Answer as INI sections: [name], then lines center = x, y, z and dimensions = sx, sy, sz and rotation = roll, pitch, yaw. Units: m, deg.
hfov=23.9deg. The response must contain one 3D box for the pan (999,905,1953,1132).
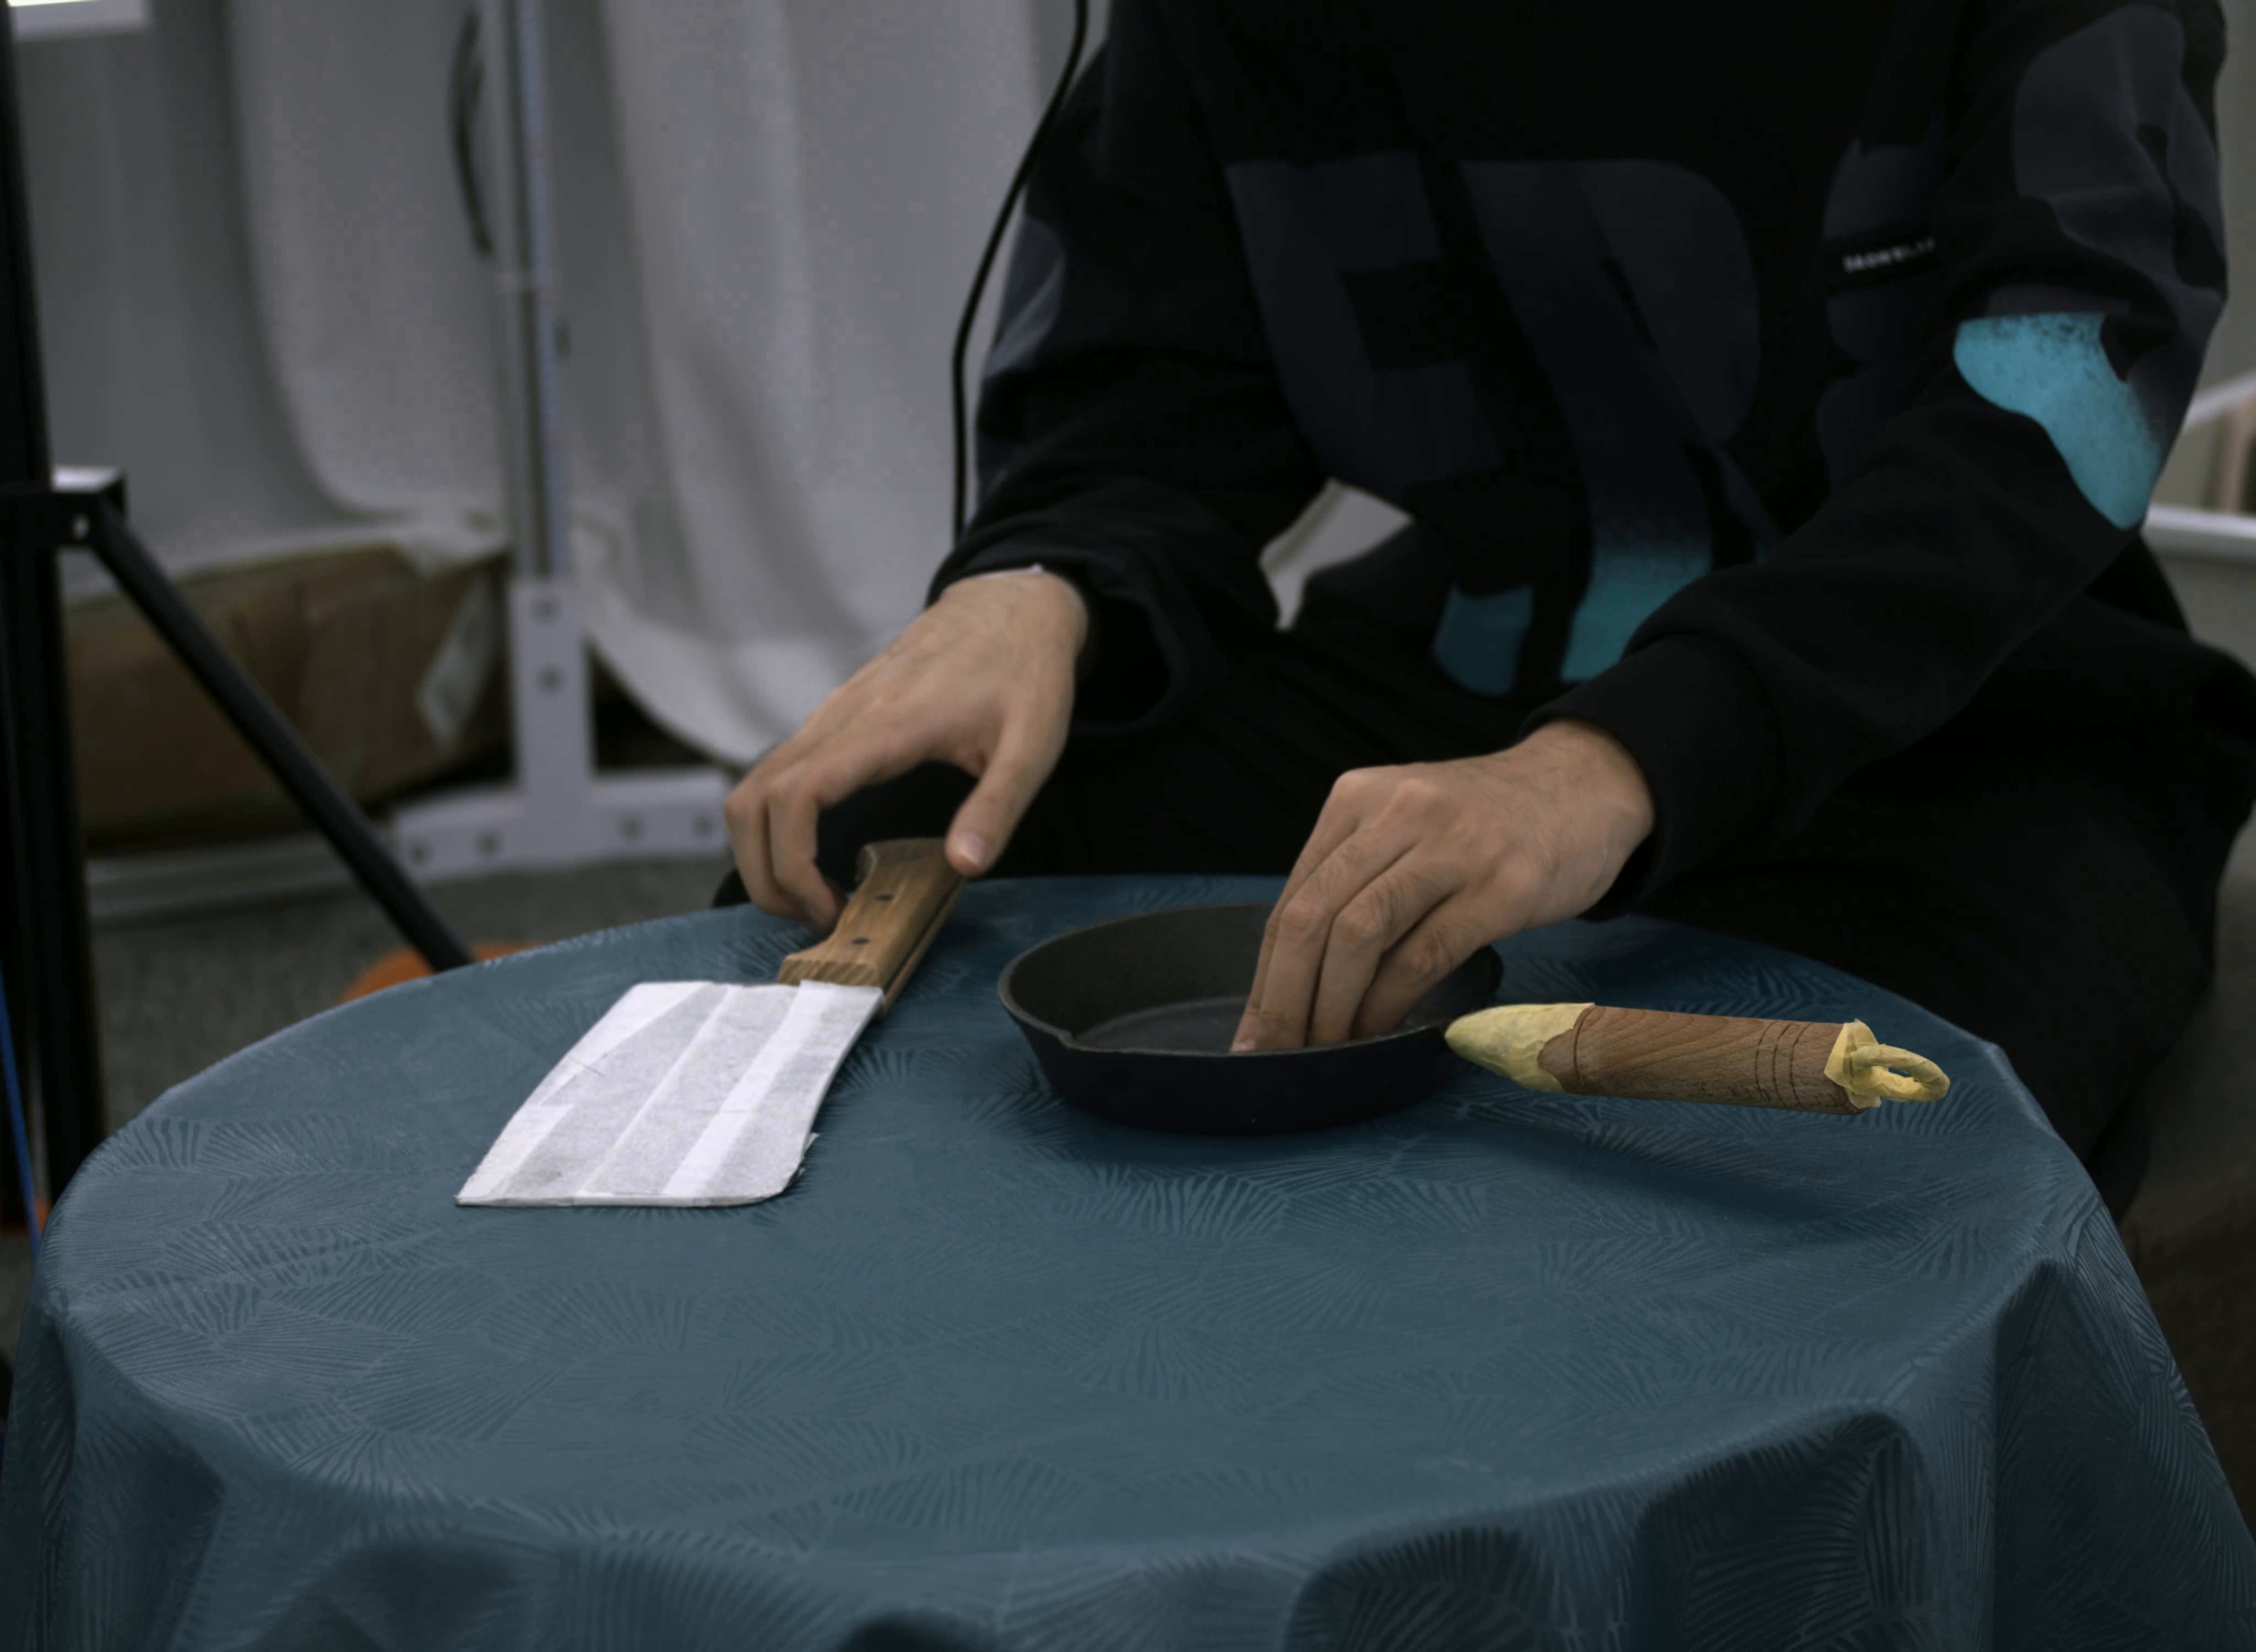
[pan]
center = 0.104, 0.066, 1.598
dimensions = 0.331, 0.049, 0.165
rotation = 10, 19, 40

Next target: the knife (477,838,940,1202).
[knife]
center = -0.116, 0.063, 1.705
dimensions = 0.115, 0.022, 0.313
rotation = 1, 19, 16
